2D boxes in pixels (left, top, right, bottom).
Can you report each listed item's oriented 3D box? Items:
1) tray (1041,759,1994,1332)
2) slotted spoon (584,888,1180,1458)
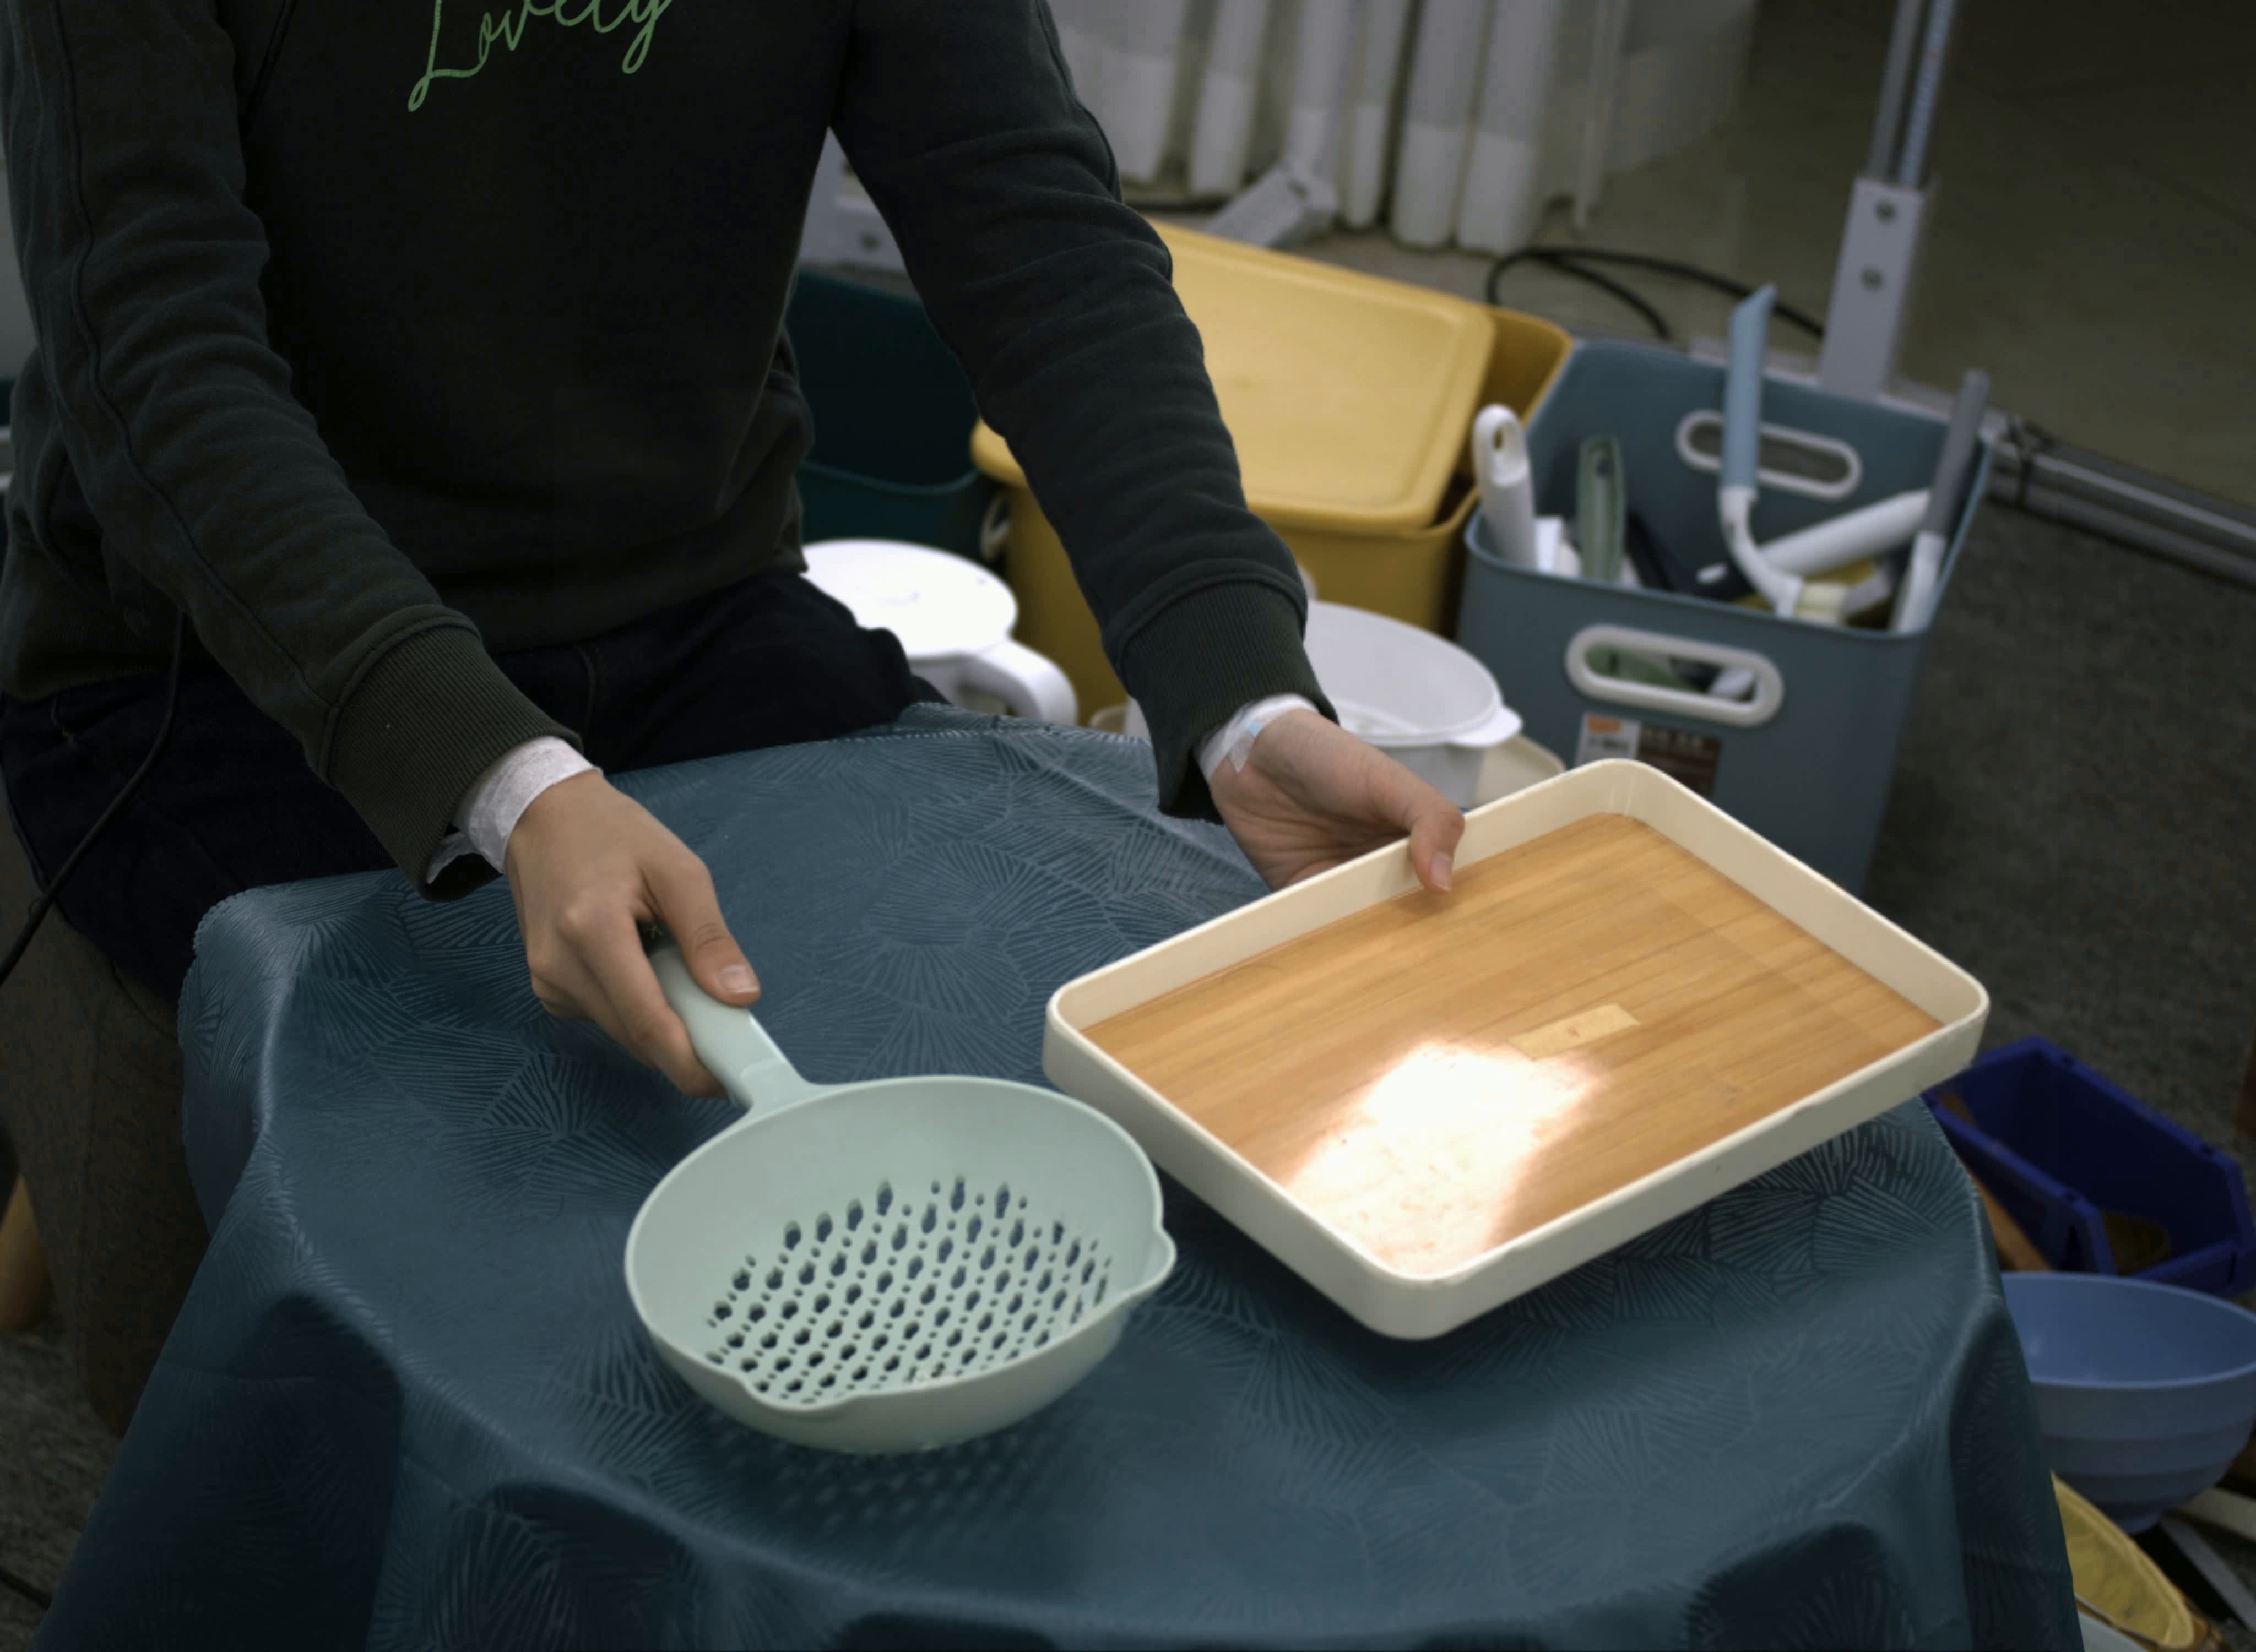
[{"bbox_3d":[0.136,0.069,1.825,0.299,0.027,0.193,-21,42,-38],"label":"tray"},{"bbox_3d":[-0.112,0.095,1.734,0.168,0.075,0.362,-18,39,-18],"label":"slotted spoon"}]
